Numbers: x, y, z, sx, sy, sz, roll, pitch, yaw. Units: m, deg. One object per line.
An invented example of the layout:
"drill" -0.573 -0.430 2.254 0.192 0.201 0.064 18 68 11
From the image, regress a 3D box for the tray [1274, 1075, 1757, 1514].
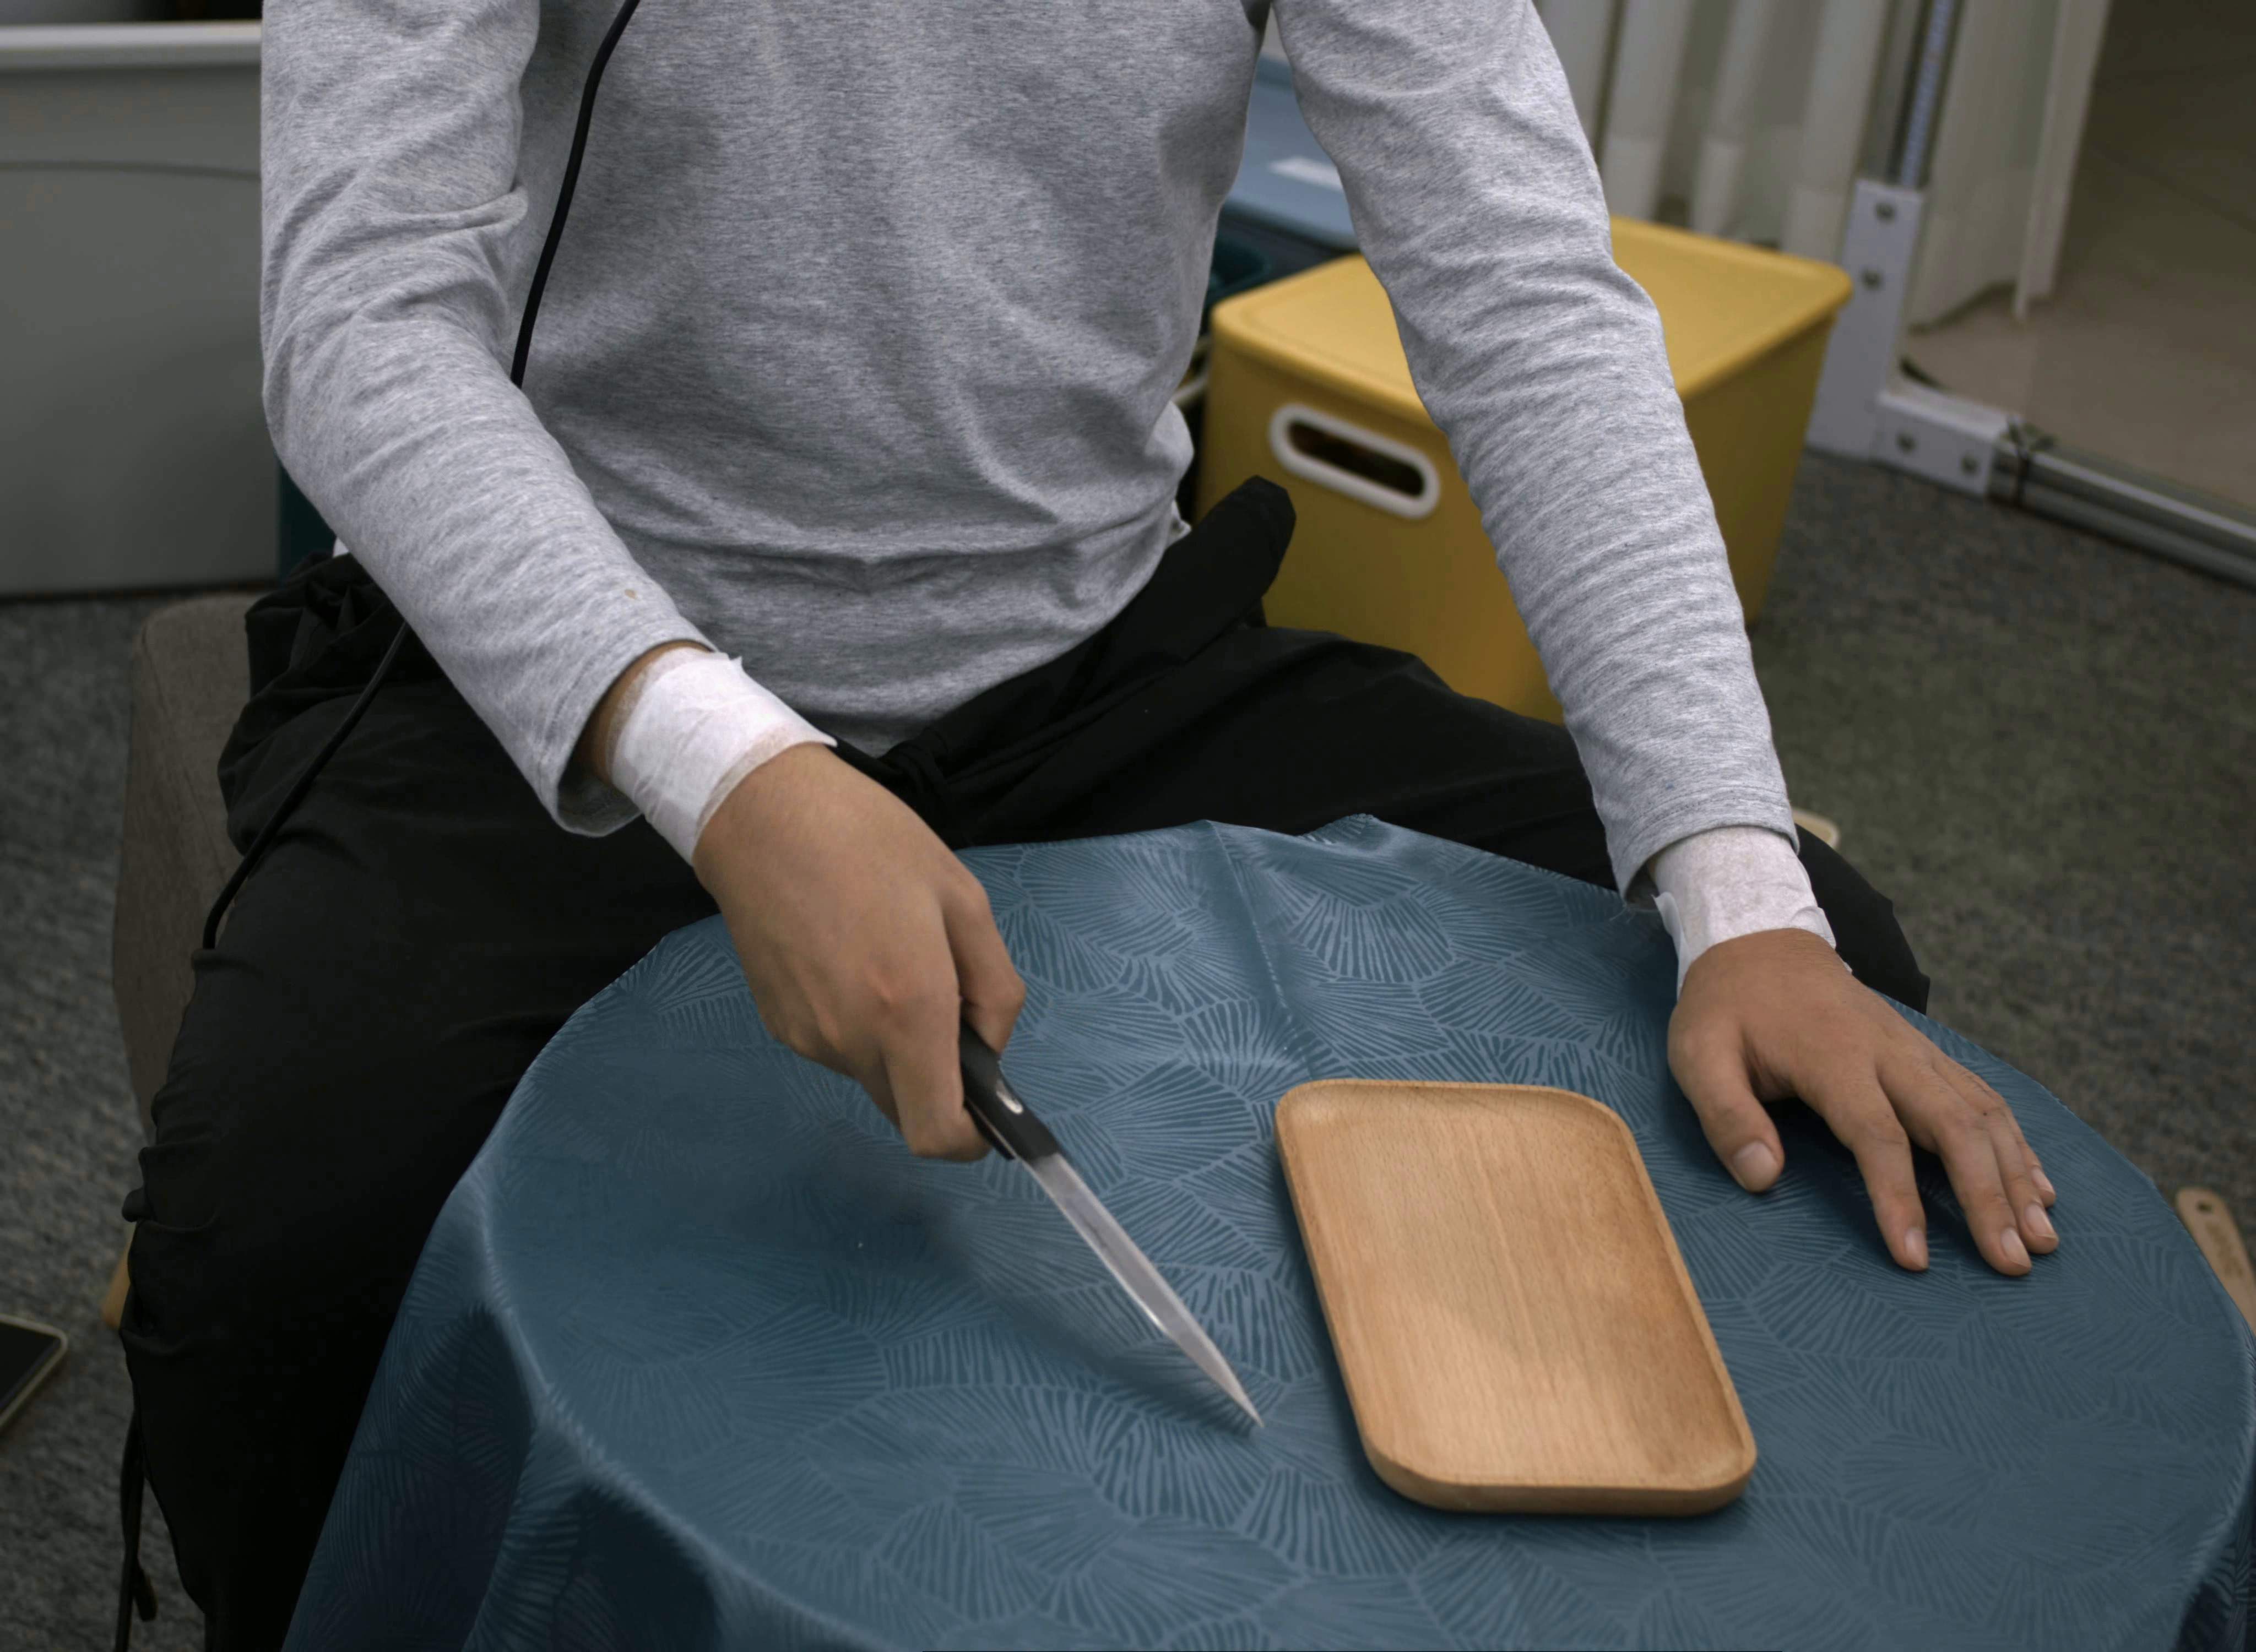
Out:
"tray" 0.124 0.152 1.759 0.130 0.023 0.252 5 26 -9

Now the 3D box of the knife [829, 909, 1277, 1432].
"knife" -0.027 0.112 1.731 0.024 0.016 0.240 -10 49 -47
